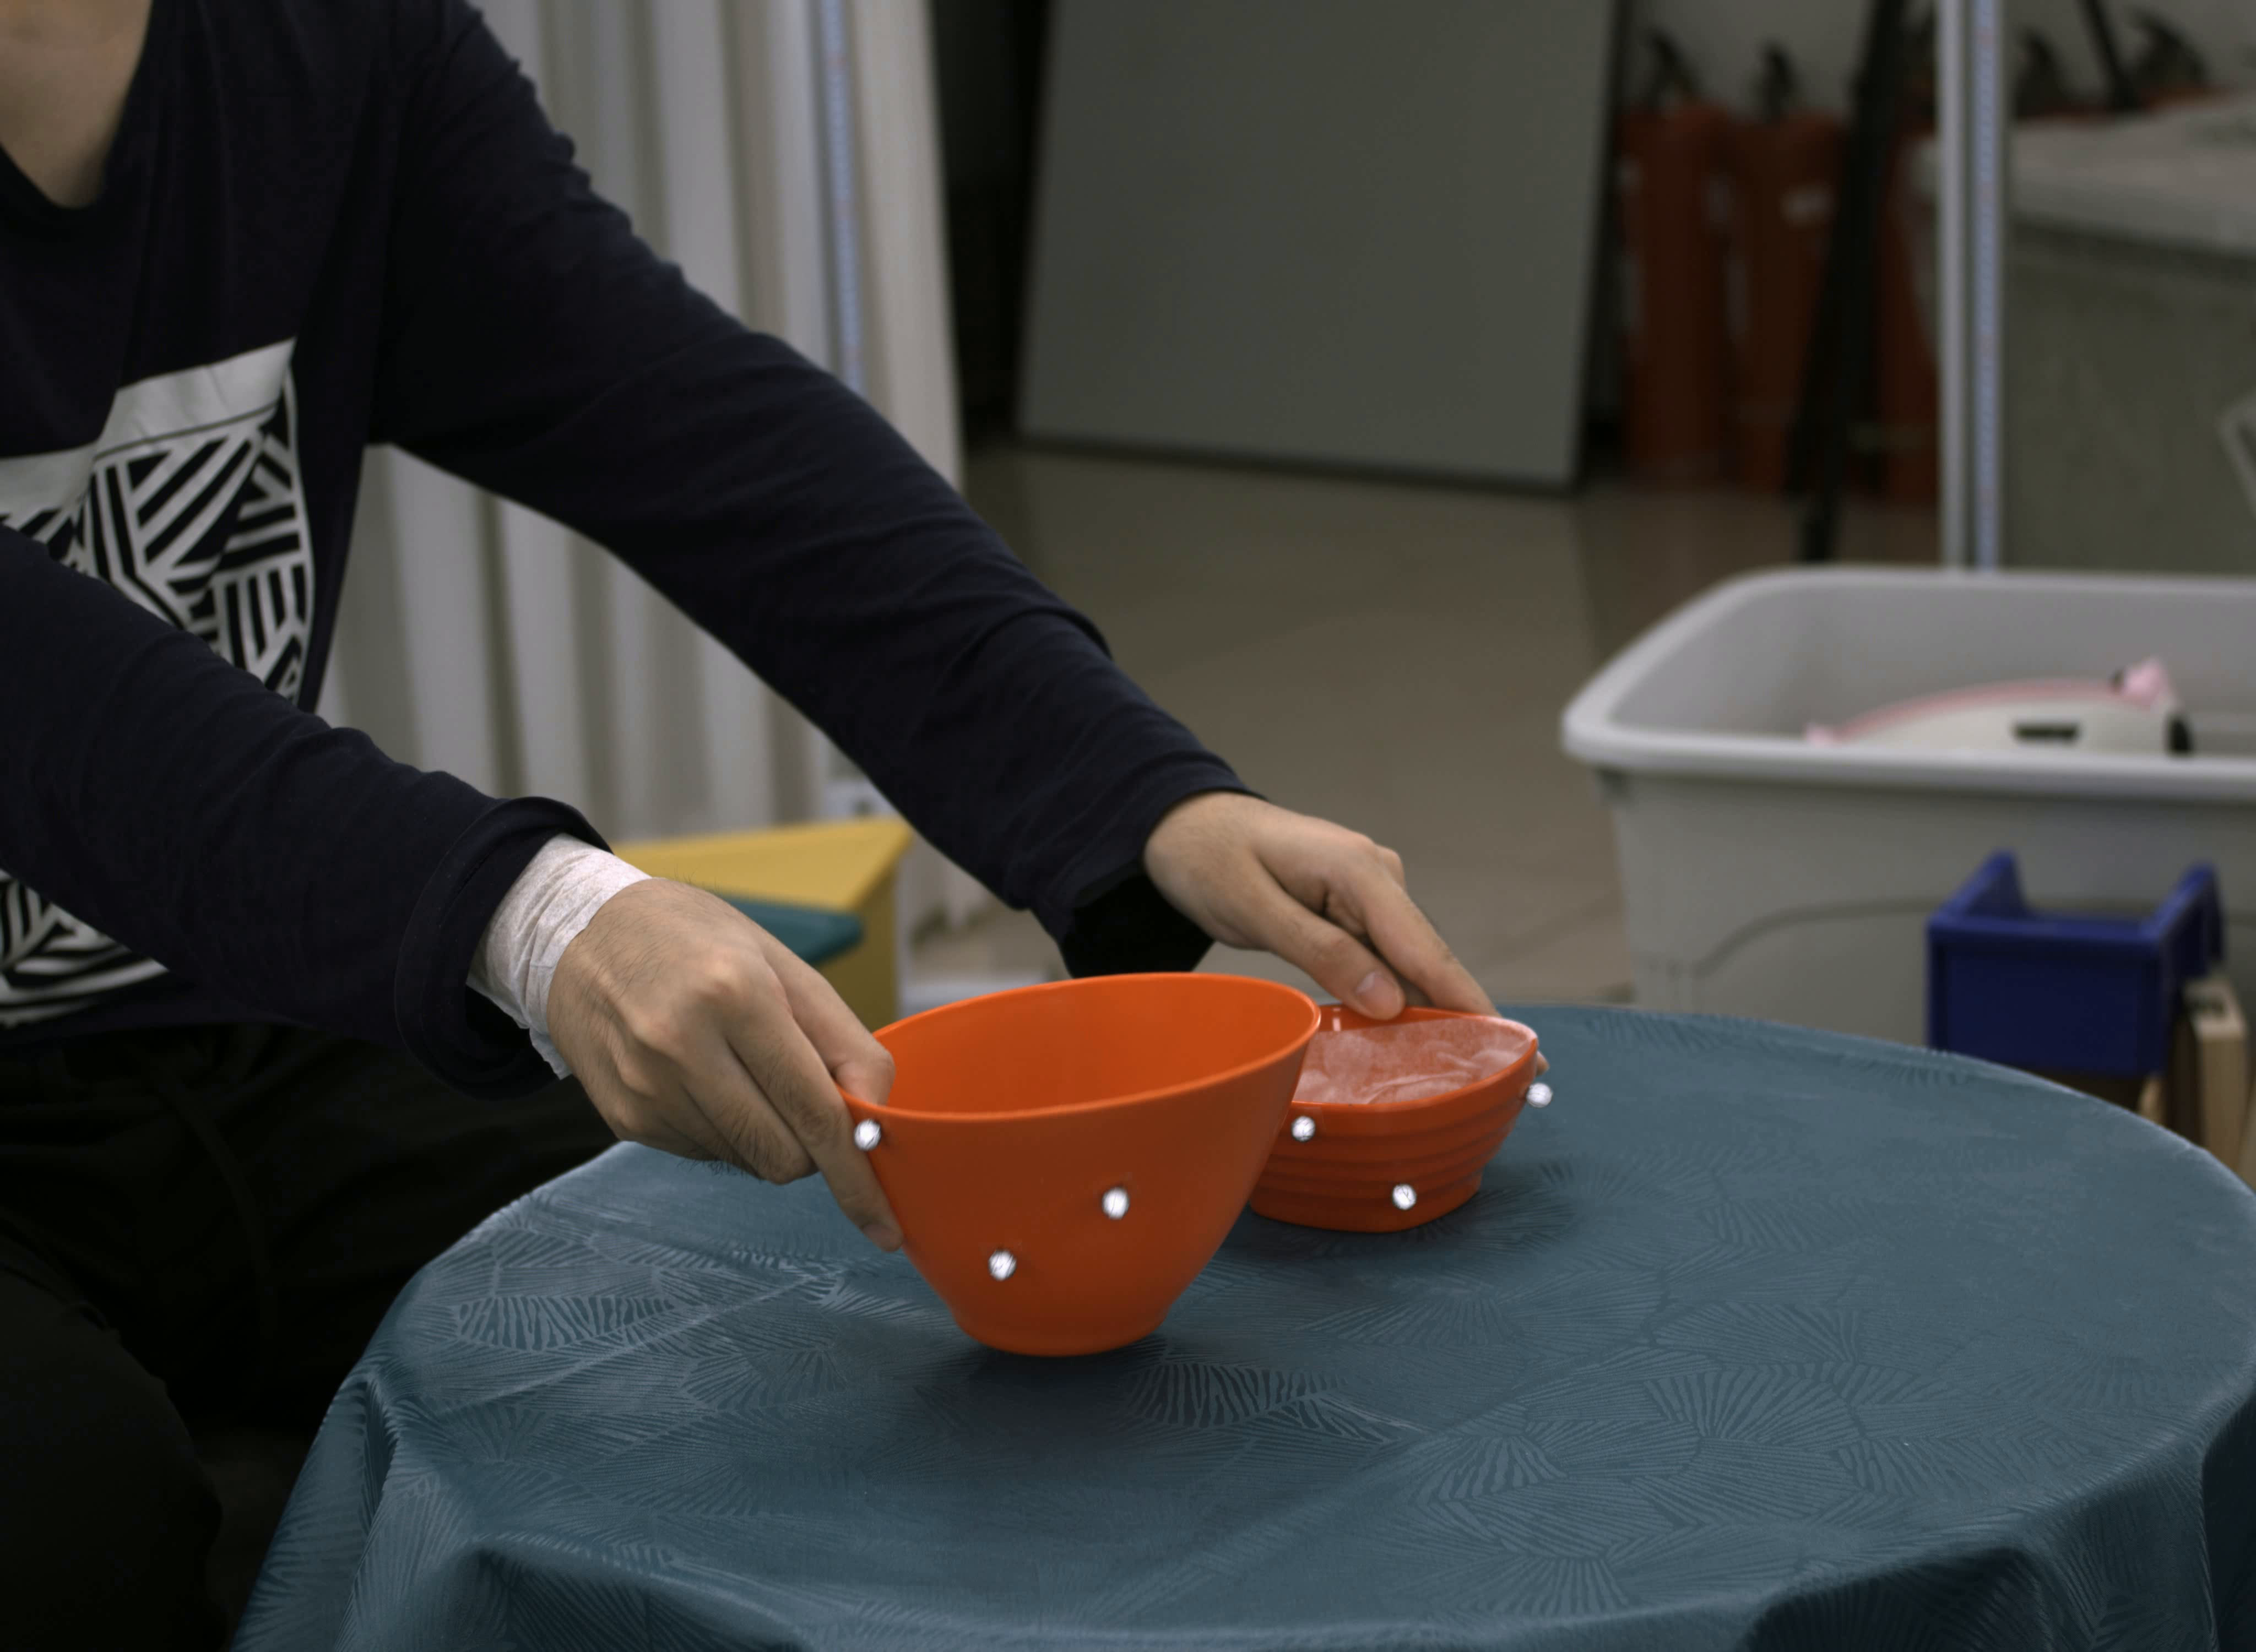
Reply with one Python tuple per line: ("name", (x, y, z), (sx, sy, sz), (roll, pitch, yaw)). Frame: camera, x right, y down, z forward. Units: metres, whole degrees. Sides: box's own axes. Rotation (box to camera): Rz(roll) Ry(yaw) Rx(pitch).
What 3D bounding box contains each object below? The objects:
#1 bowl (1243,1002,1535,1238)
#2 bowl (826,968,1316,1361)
("bowl", (0.076, 0.097, 1.745), (0.117, 0.052, 0.119), (-5, 15, 0))
("bowl", (-0.015, 0.101, 1.599), (0.146, 0.105, 0.148), (-4, 19, 0))
